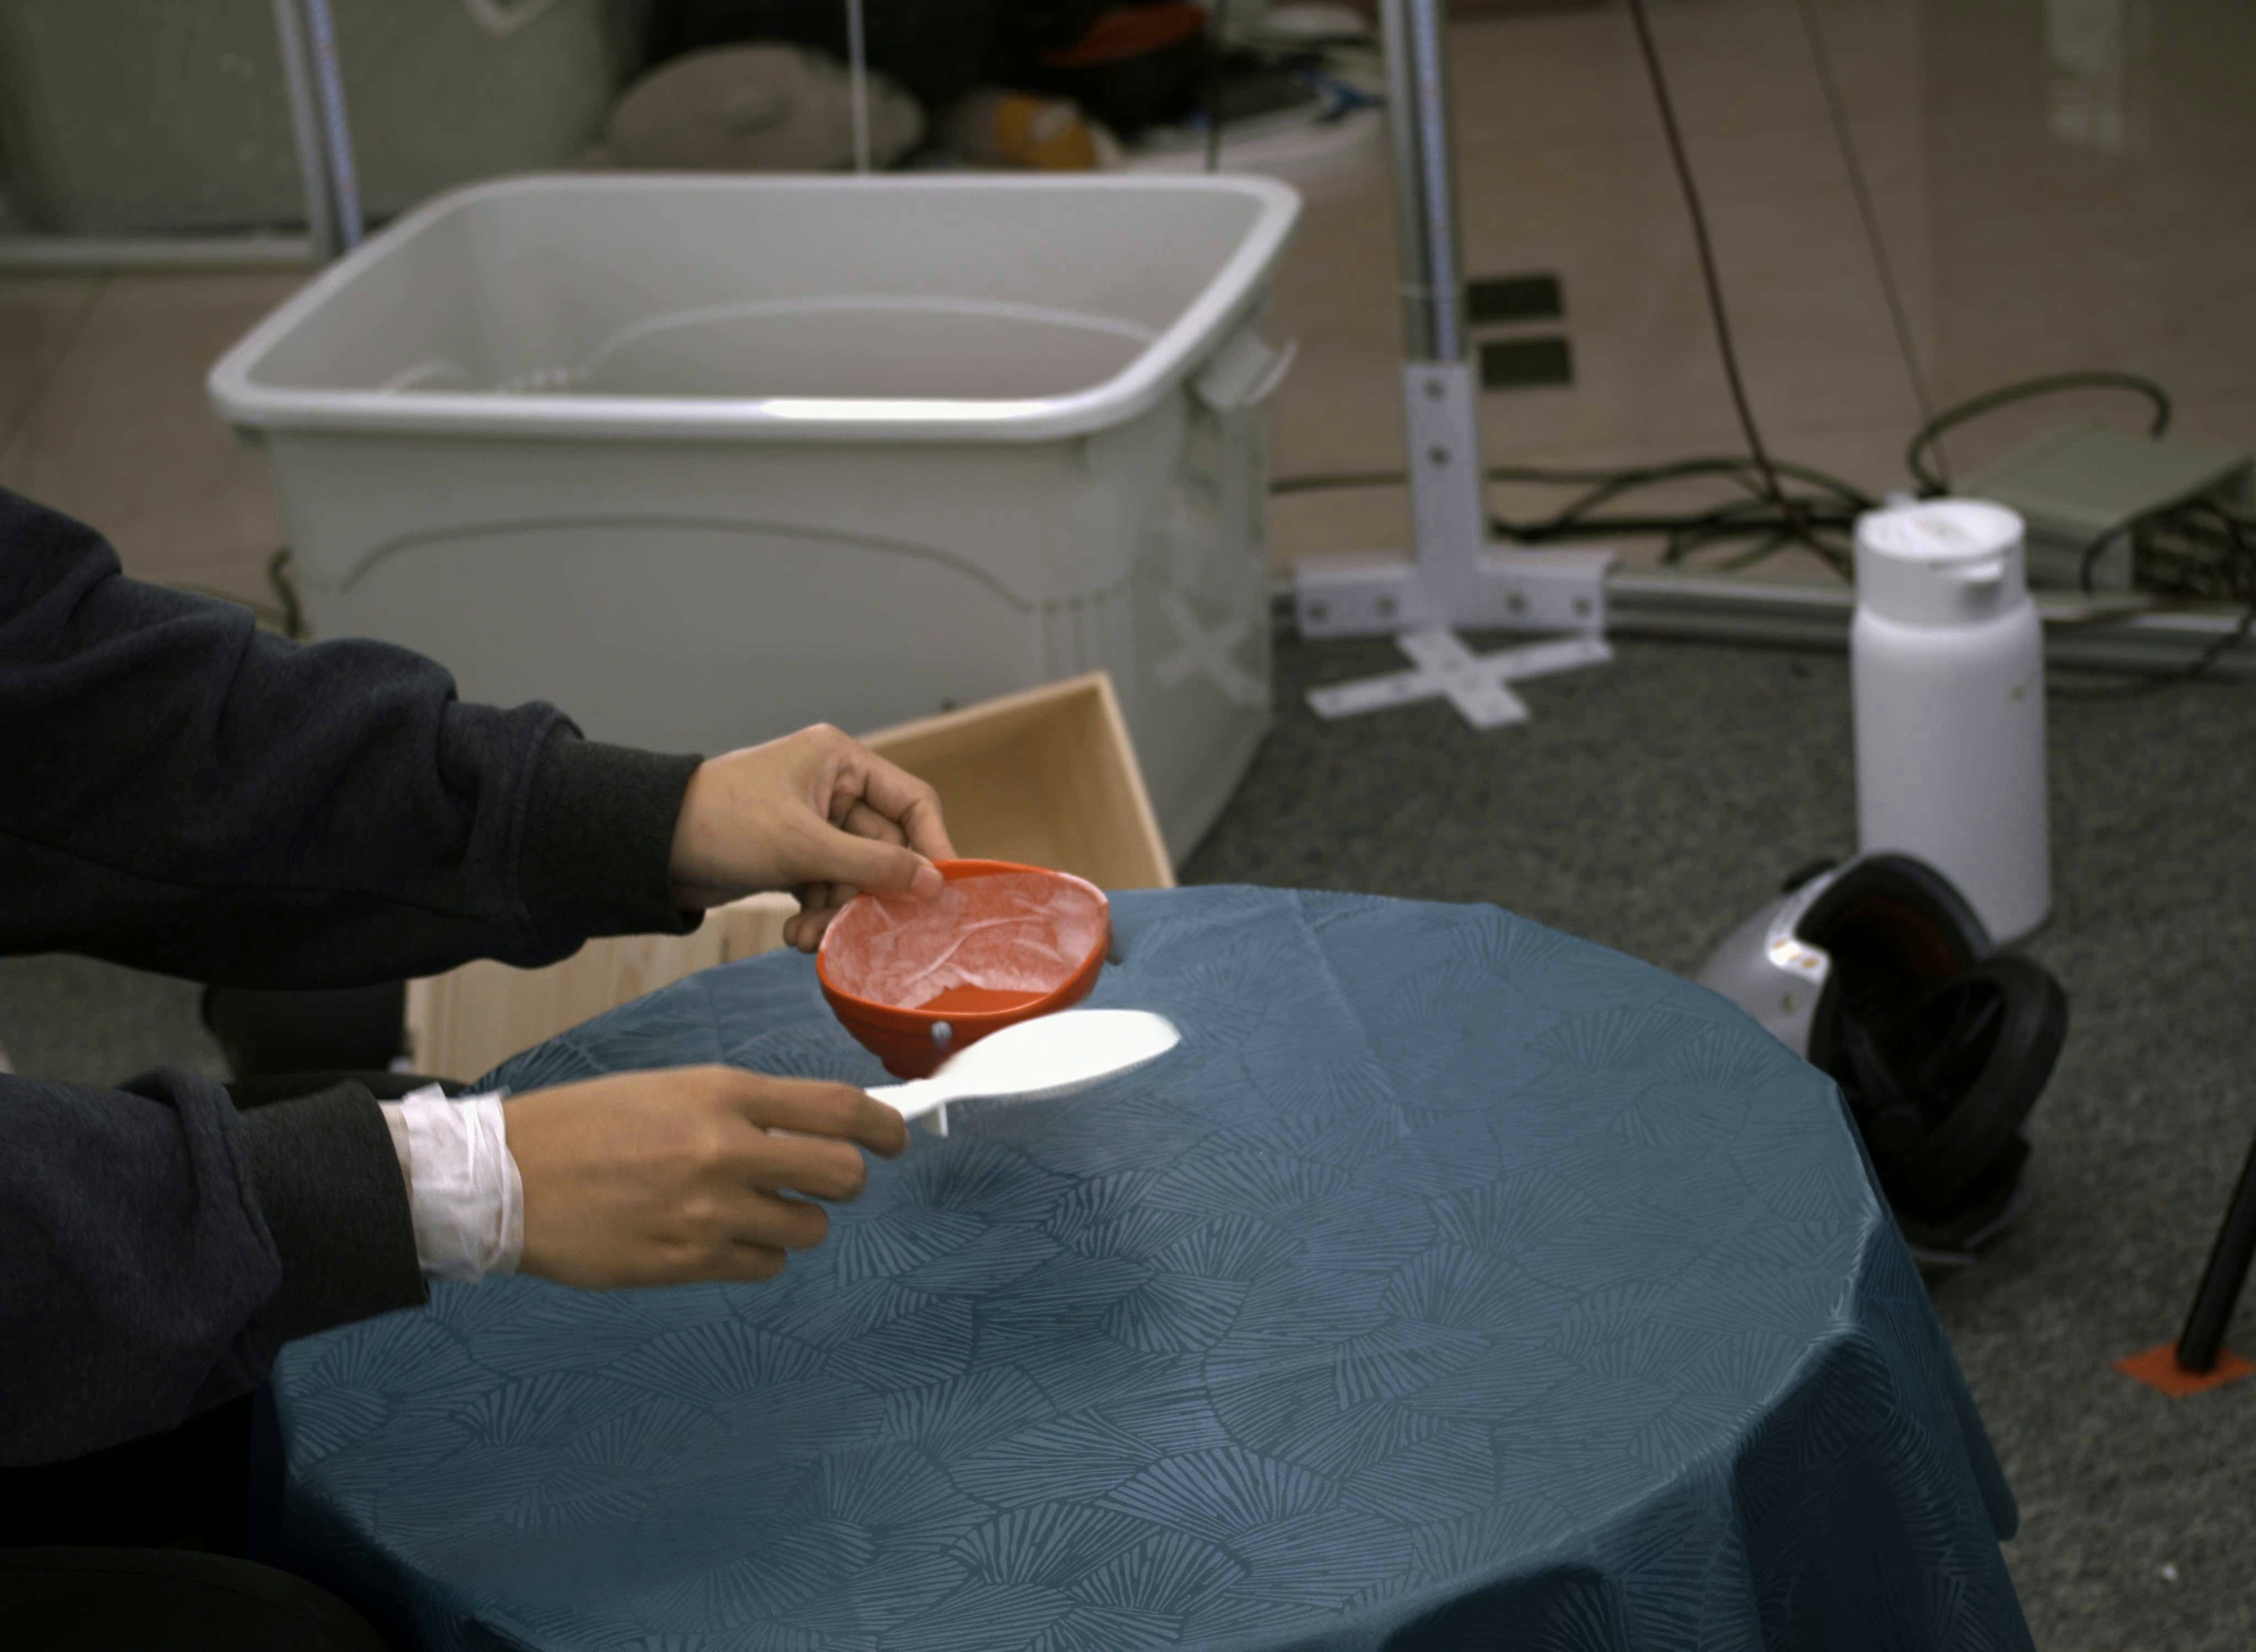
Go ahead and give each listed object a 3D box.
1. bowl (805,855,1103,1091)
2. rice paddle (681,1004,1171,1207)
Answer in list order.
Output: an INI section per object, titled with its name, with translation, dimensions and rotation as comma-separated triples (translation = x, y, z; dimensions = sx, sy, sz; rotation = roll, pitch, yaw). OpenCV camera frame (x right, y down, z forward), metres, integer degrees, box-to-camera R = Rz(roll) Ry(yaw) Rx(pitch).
[bowl]
translation = -0.065, 0.062, 2.190
dimensions = 0.119, 0.052, 0.117
rotation = -4, 33, 3
[rice paddle]
translation = -0.069, 0.091, 2.015
dimensions = 0.204, 0.030, 0.068
rotation = -18, 22, -36
